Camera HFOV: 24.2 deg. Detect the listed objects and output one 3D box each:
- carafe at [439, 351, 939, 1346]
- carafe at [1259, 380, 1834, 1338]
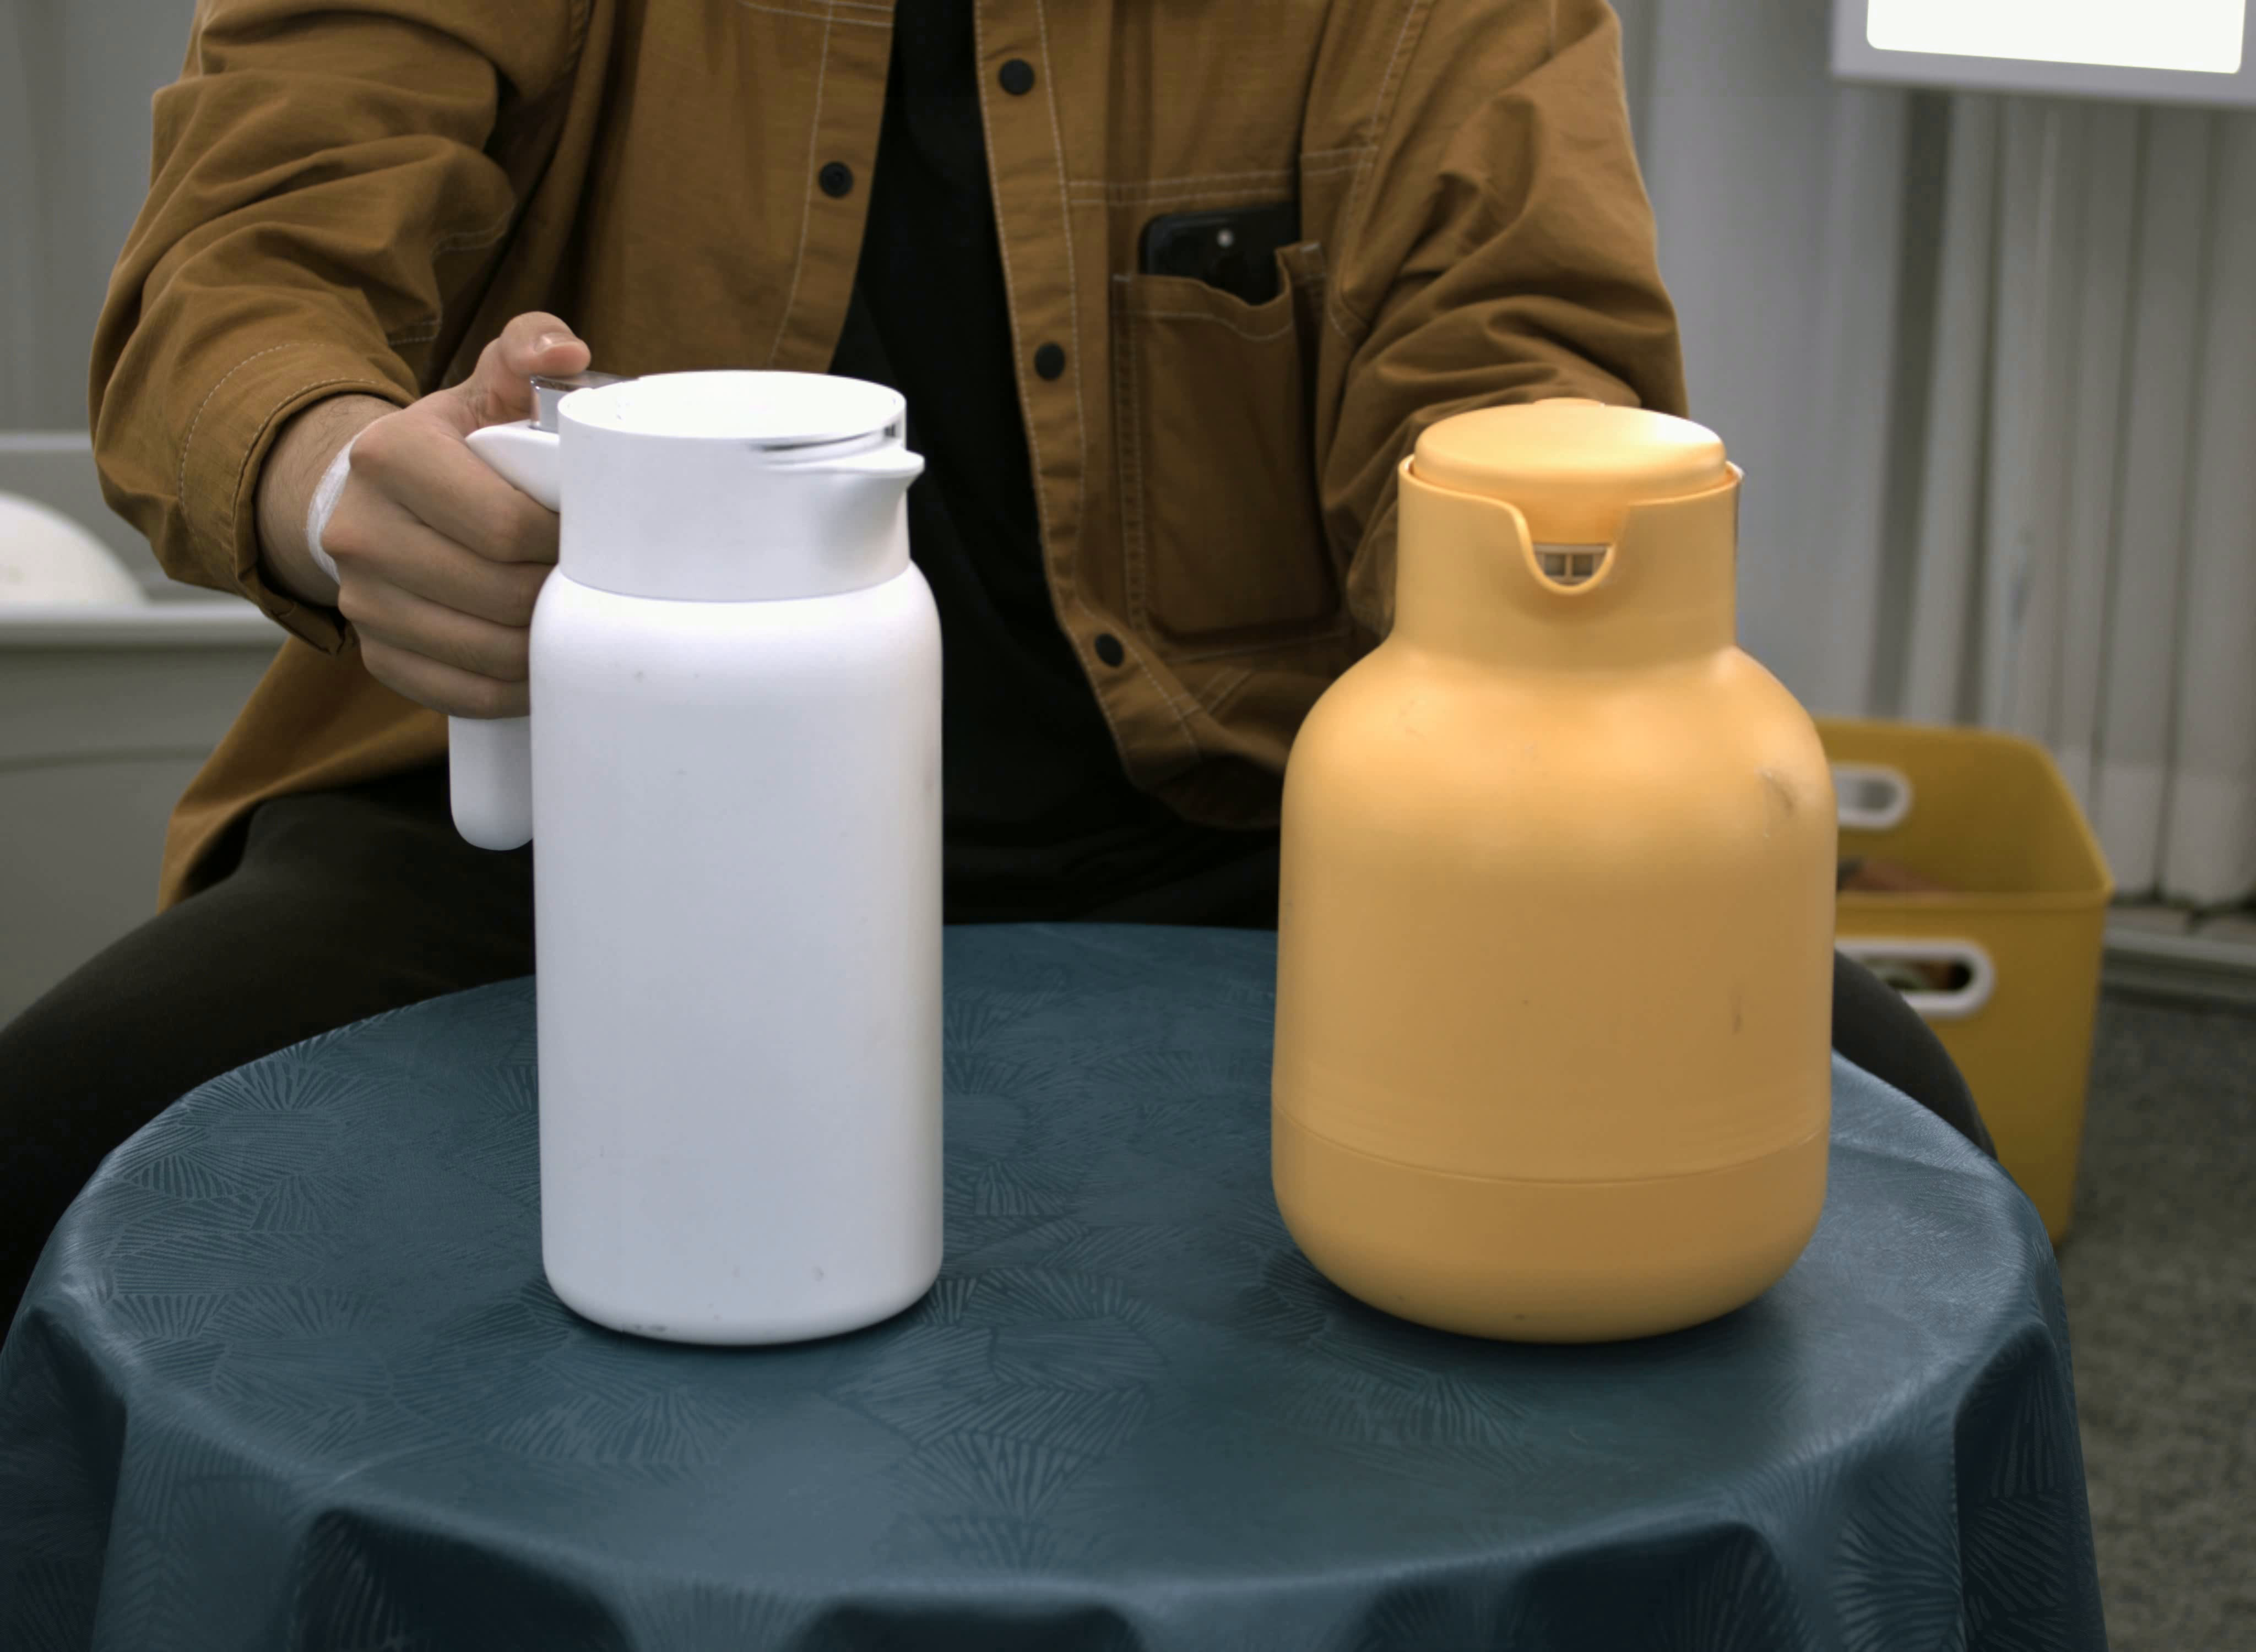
[{"bbox_3d":[-0.128,0.003,1.508,0.170,0.271,0.124,12,21,35],"label":"carafe"},{"bbox_3d":[0.126,0.001,1.532,0.162,0.262,0.201,5,18,5],"label":"carafe"}]
